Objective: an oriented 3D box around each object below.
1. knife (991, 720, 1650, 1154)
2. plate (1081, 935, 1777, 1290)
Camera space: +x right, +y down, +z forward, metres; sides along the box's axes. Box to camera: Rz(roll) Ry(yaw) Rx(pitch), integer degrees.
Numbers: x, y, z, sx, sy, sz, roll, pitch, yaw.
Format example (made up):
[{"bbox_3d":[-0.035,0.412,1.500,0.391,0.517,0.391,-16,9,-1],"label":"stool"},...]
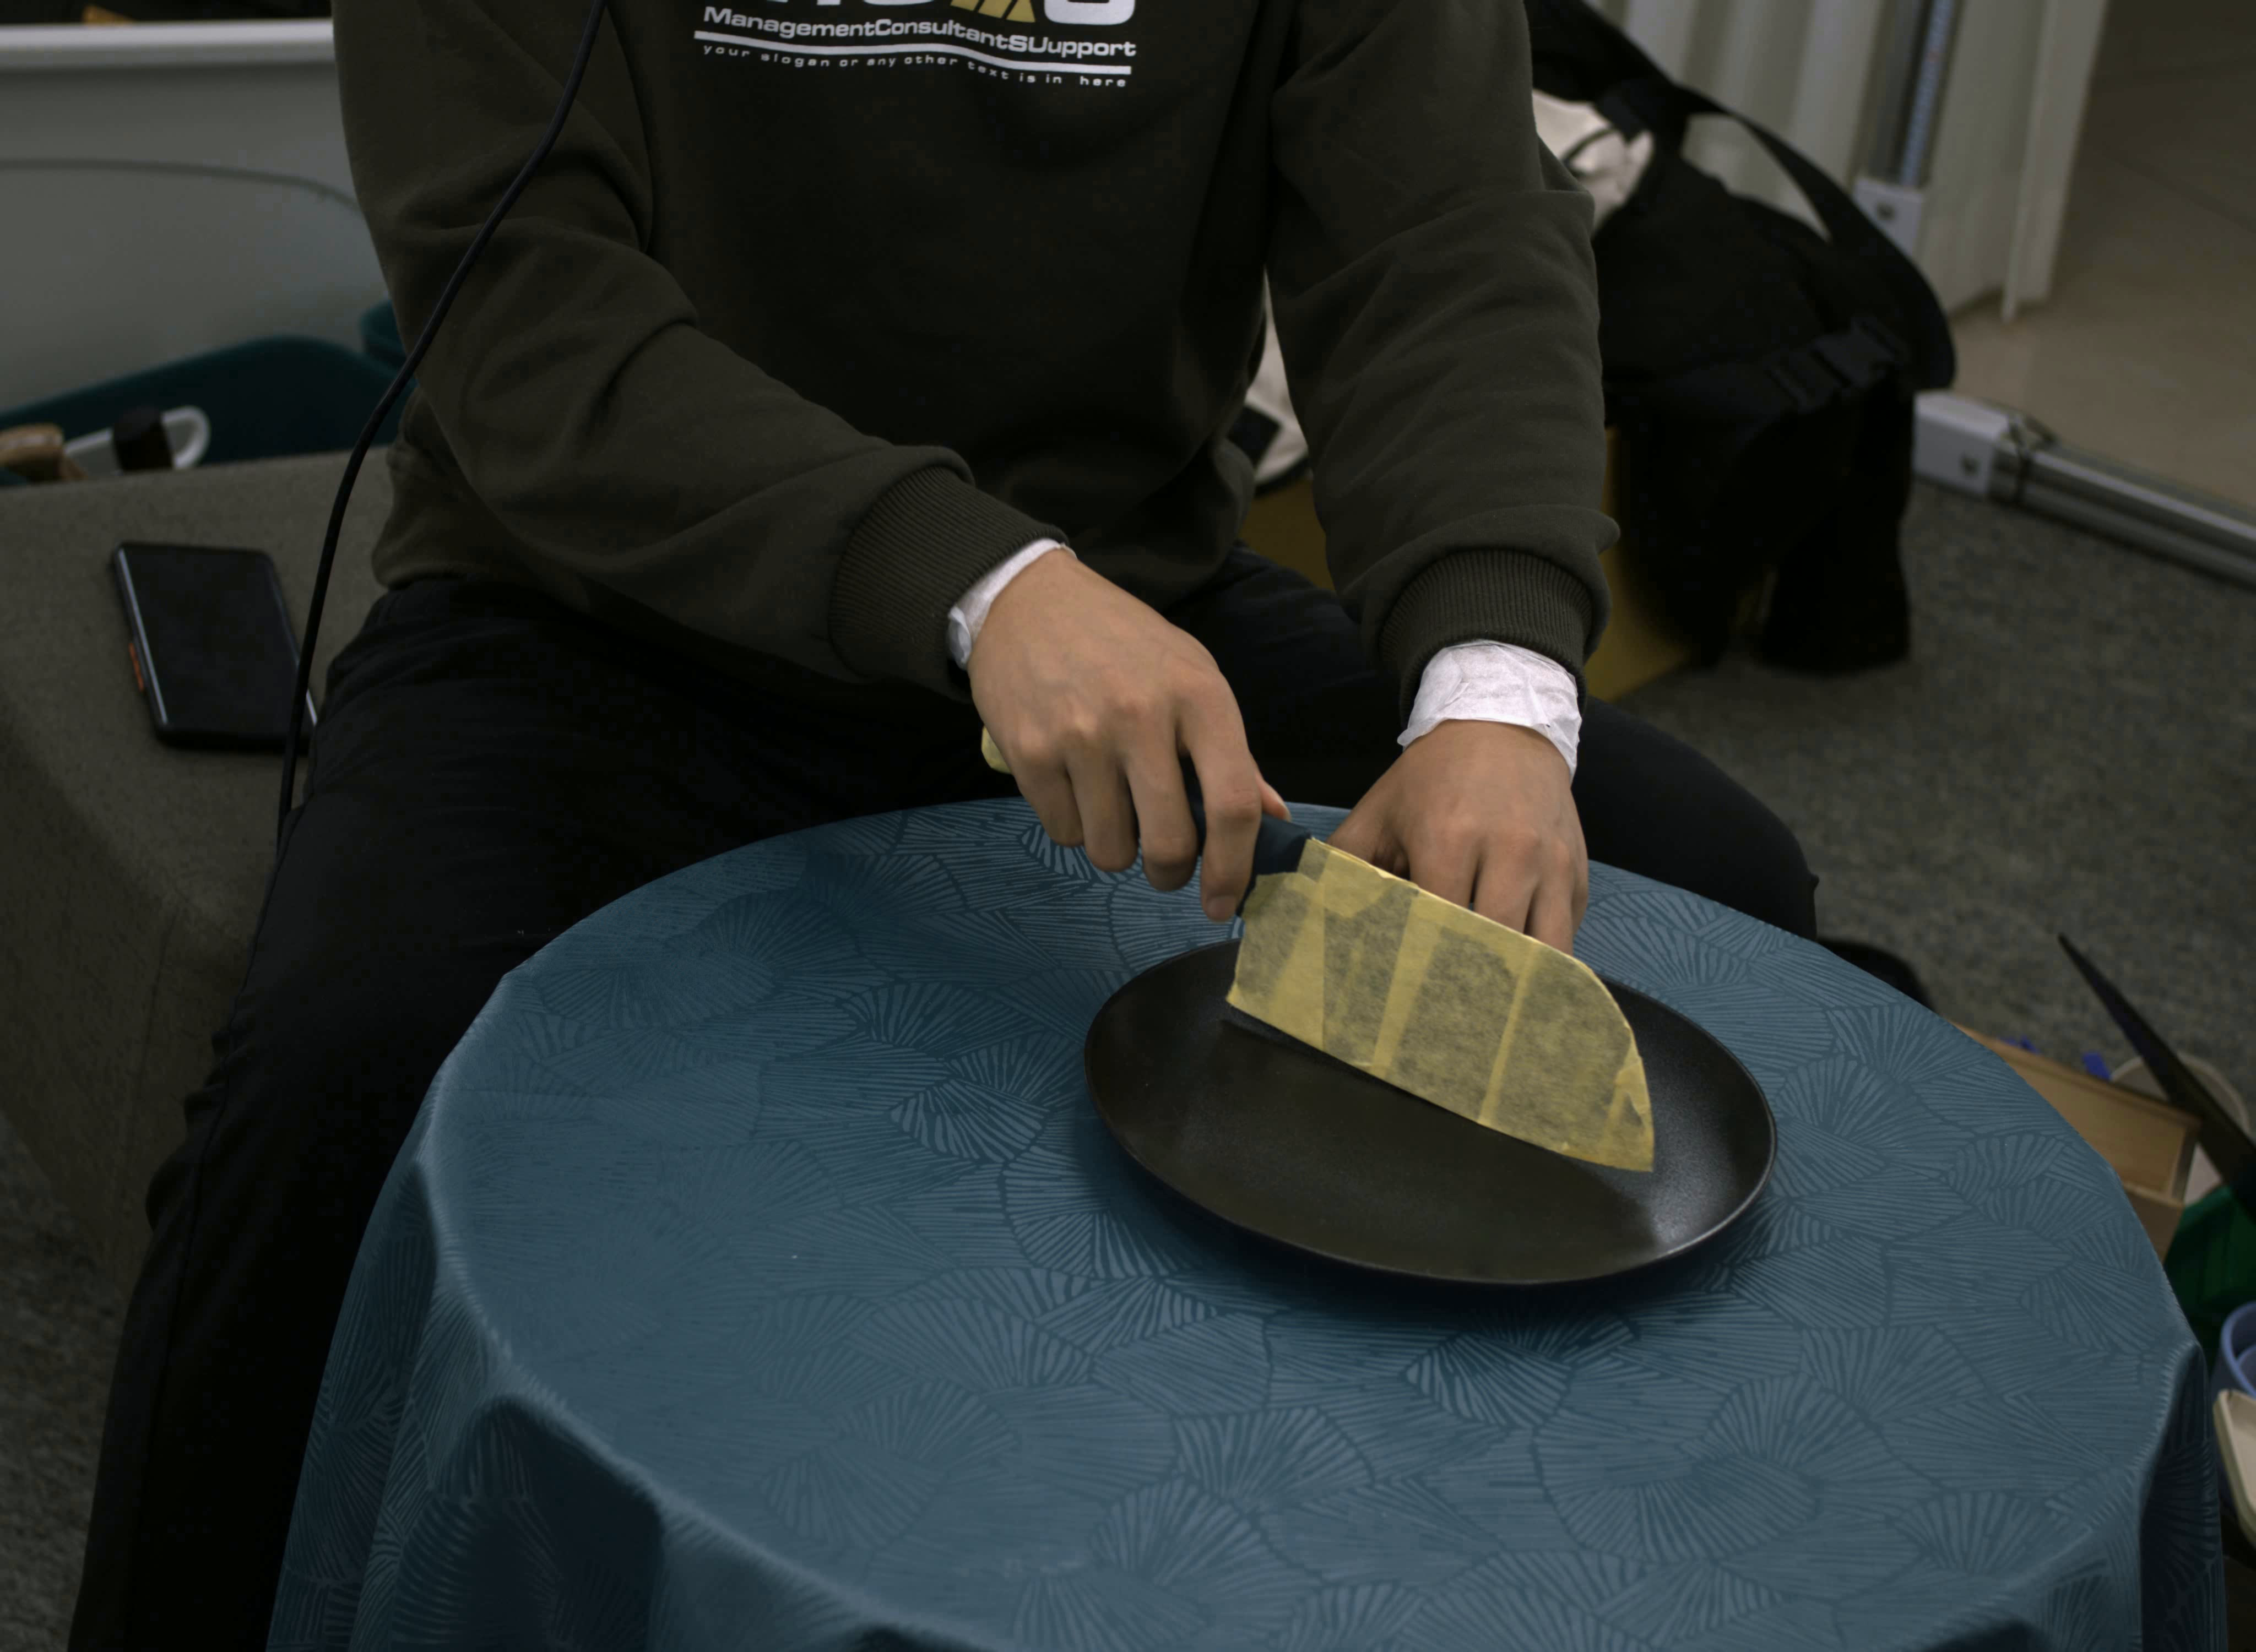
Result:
[{"bbox_3d":[0.064,0.037,1.879,0.291,0.081,0.027,29,22,27],"label":"knife"},{"bbox_3d":[0.103,0.102,1.846,0.243,0.023,0.246,5,27,-3],"label":"plate"}]
